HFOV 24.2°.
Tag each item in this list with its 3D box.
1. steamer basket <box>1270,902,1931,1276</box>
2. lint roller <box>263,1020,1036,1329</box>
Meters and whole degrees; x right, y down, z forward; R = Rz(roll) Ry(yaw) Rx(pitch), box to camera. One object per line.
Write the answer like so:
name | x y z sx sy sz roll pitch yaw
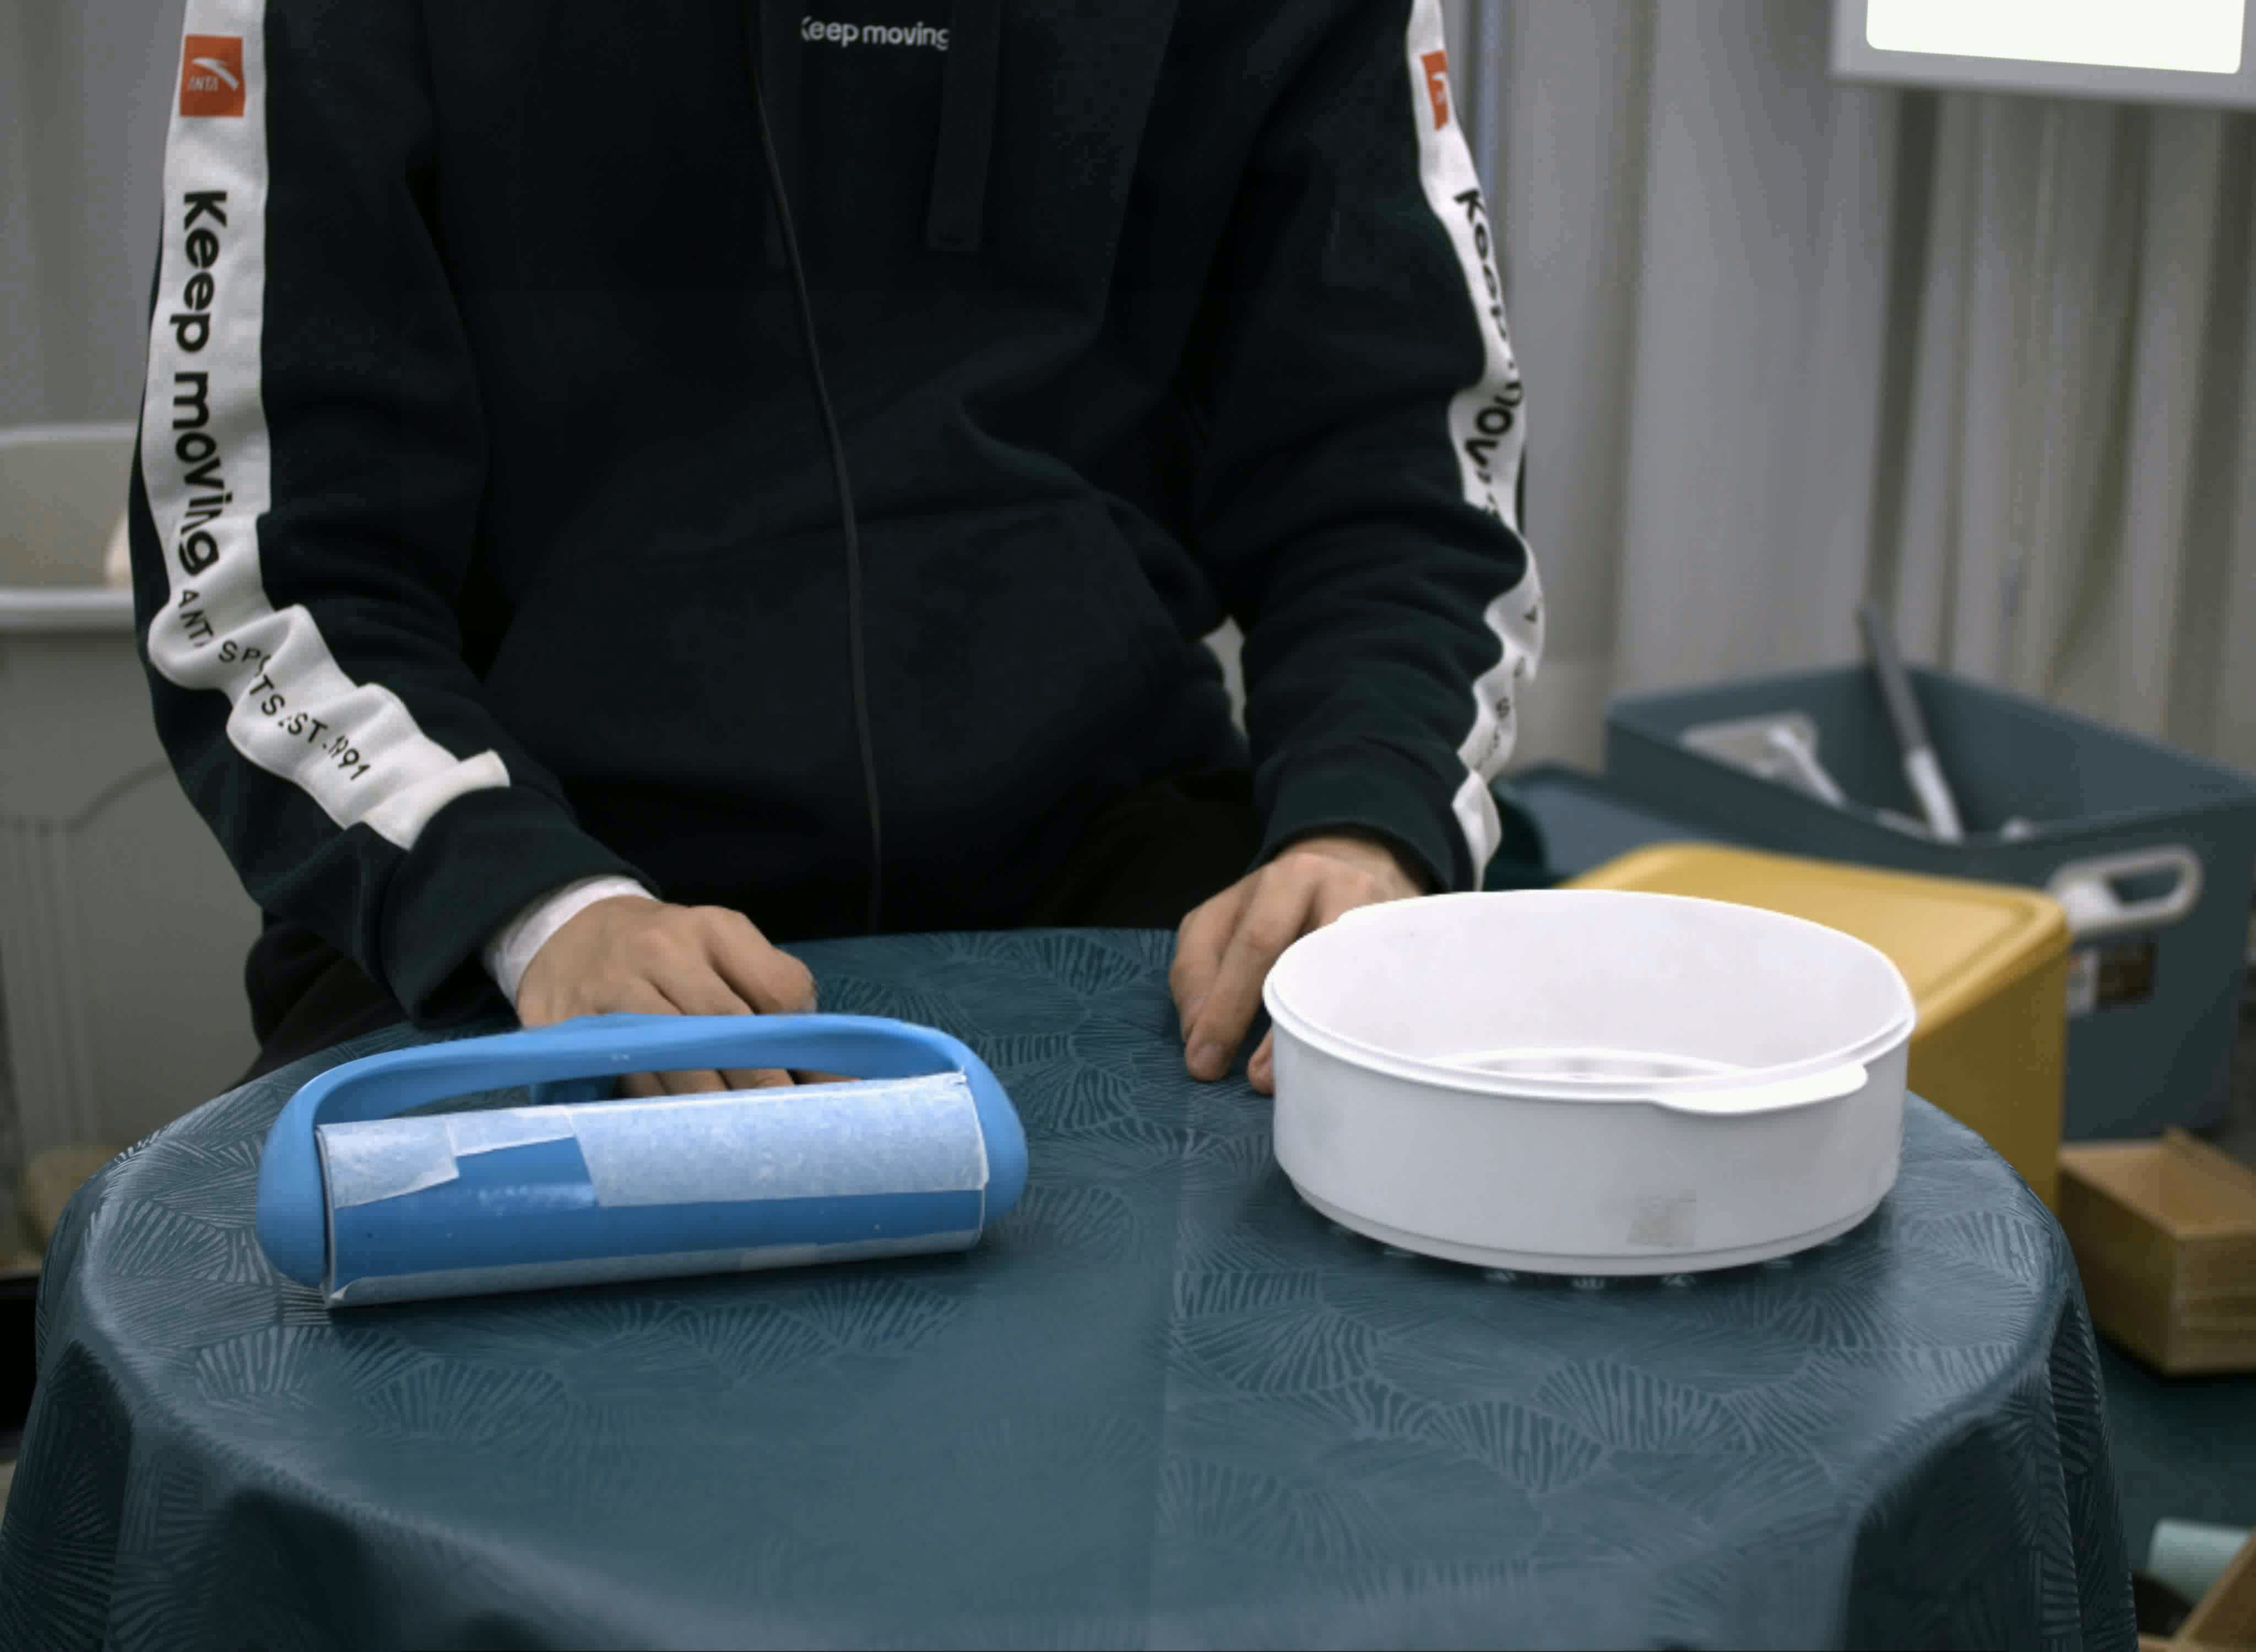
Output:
steamer basket | 0.144 0.080 1.613 0.203 0.070 0.228 -7 16 -26
lint roller | -0.157 0.091 1.588 0.229 0.068 0.178 -7 18 -19
